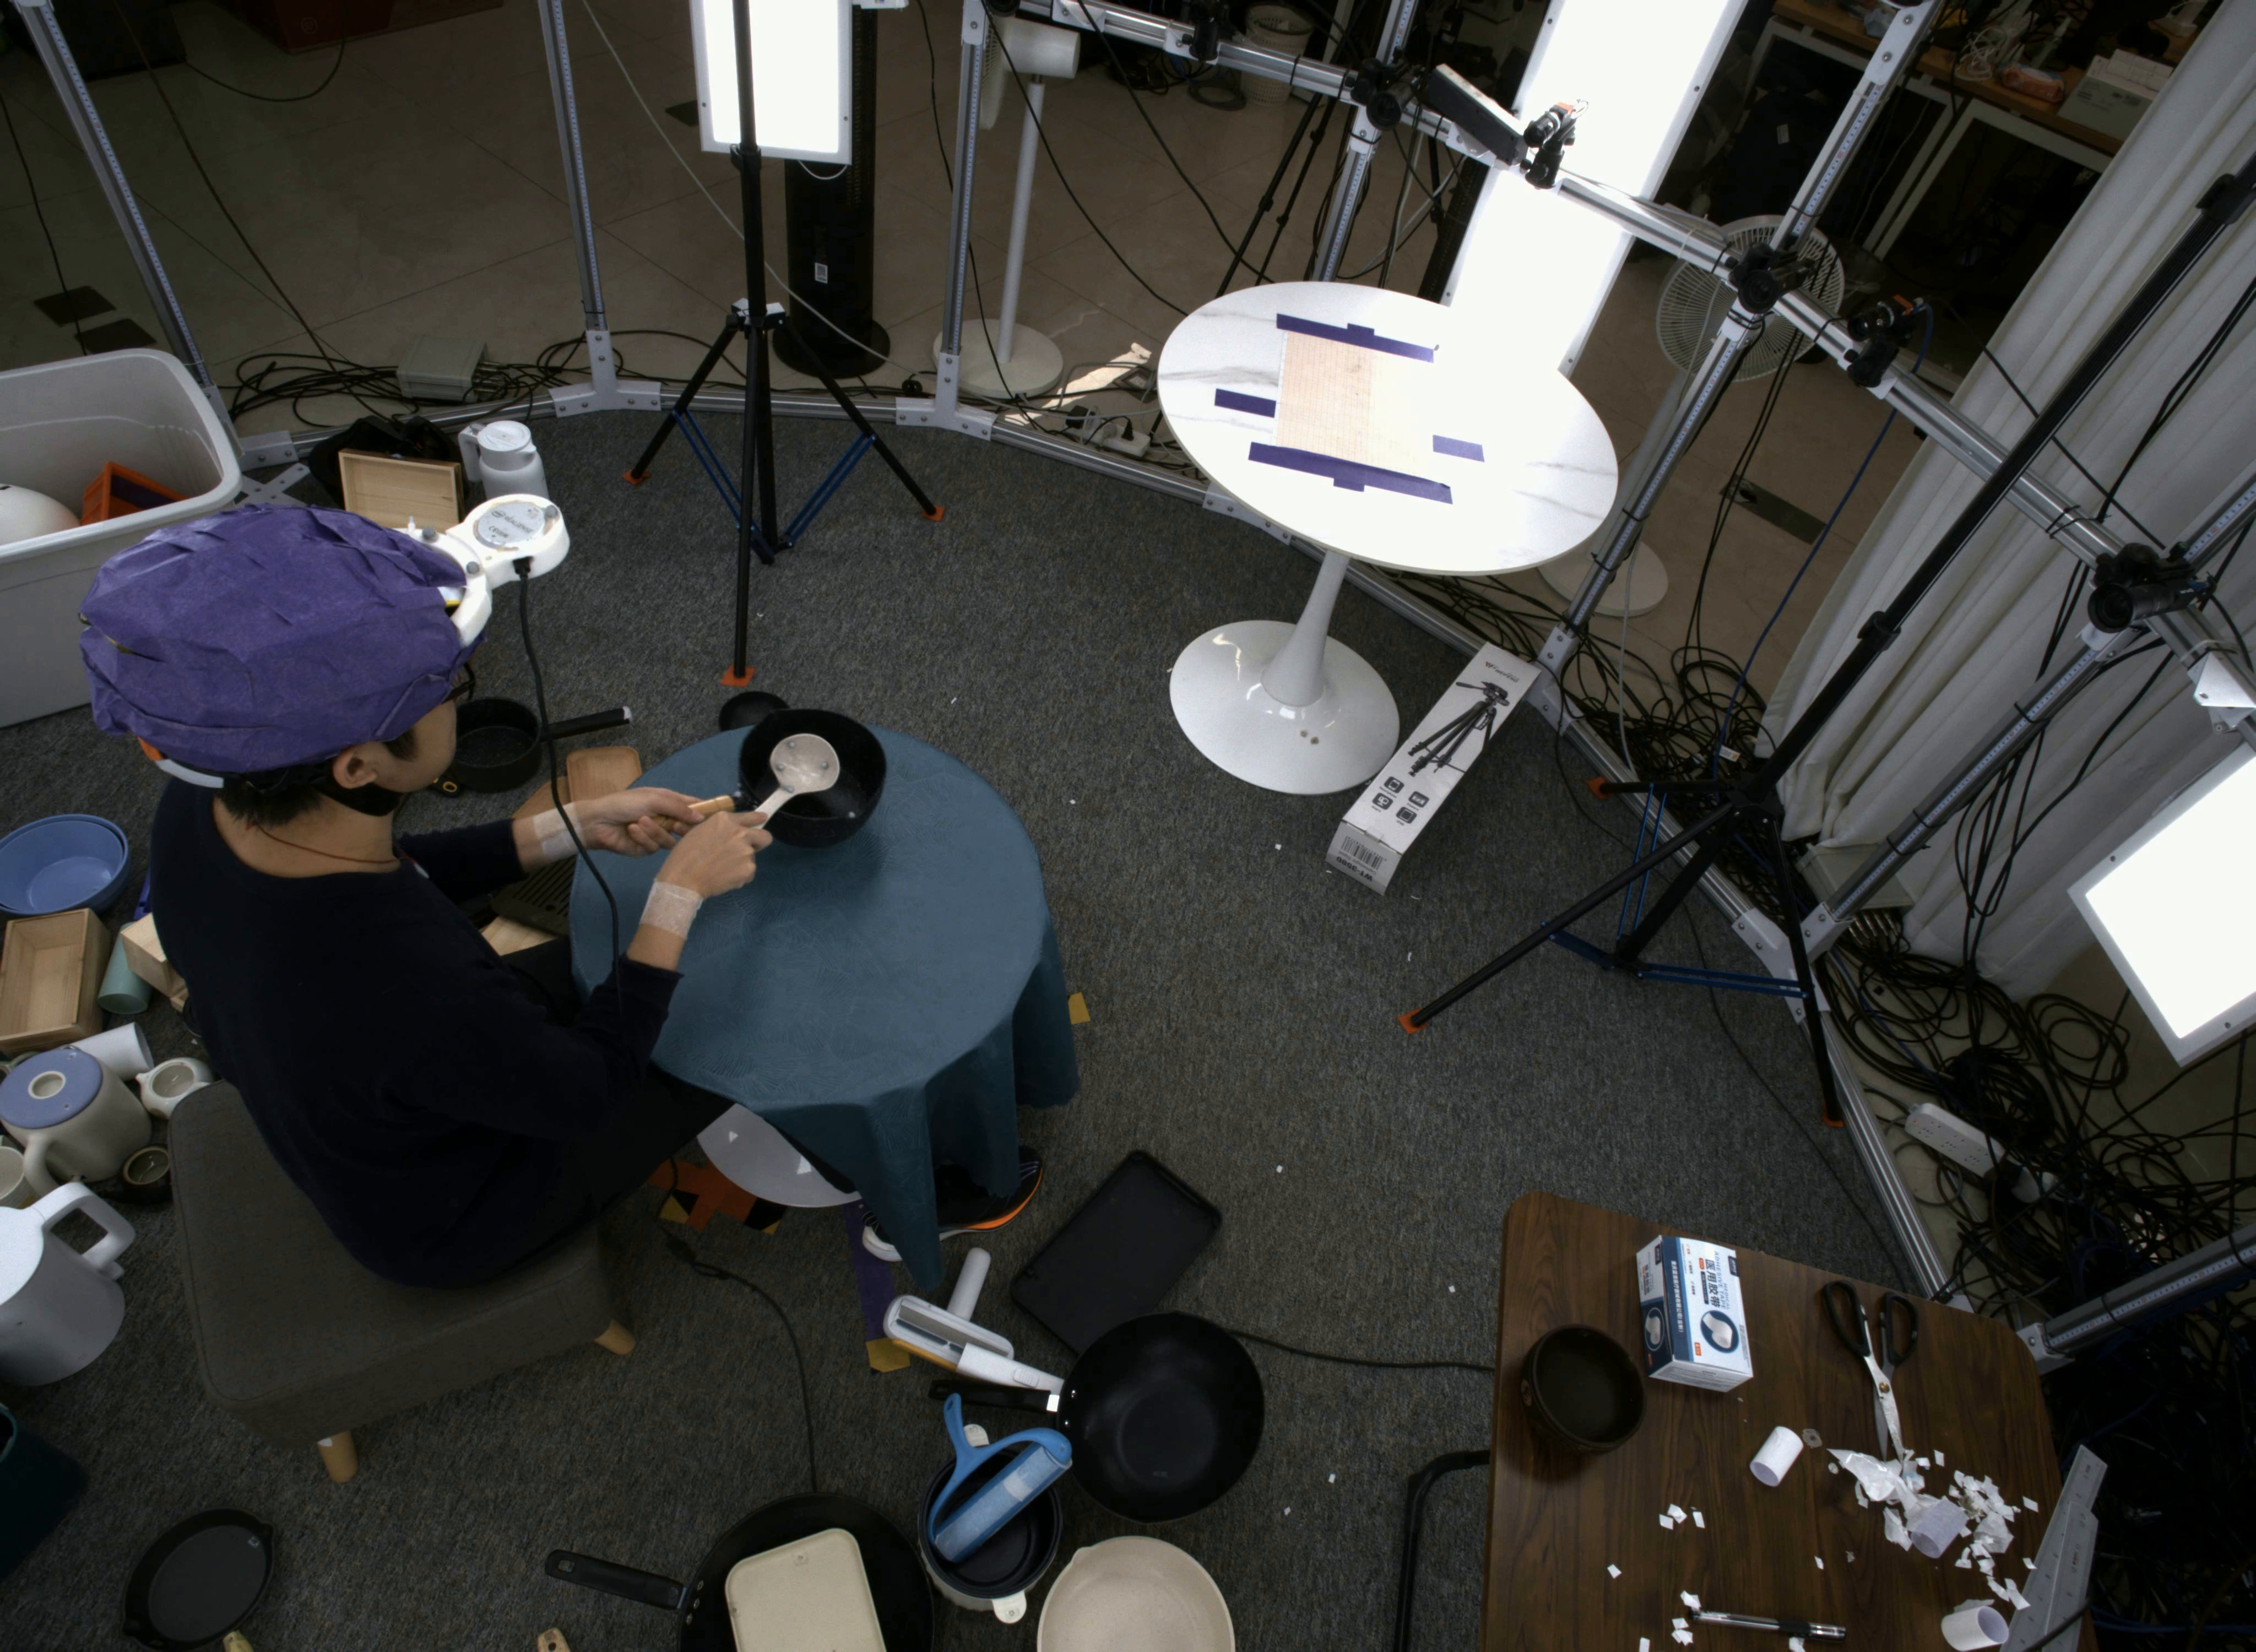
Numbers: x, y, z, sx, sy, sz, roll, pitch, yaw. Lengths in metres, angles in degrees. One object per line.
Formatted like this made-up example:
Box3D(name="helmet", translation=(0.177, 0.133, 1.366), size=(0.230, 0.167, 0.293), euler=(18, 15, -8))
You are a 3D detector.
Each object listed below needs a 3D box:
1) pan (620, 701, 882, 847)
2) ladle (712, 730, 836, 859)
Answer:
Box3D(name="pan", translation=(-0.463, -0.035, 1.590), size=(0.344, 0.110, 0.203), euler=(-29, 67, -36))
Box3D(name="ladle", translation=(-0.427, -0.043, 1.543), size=(0.089, 0.070, 0.271), euler=(28, 21, -4))
